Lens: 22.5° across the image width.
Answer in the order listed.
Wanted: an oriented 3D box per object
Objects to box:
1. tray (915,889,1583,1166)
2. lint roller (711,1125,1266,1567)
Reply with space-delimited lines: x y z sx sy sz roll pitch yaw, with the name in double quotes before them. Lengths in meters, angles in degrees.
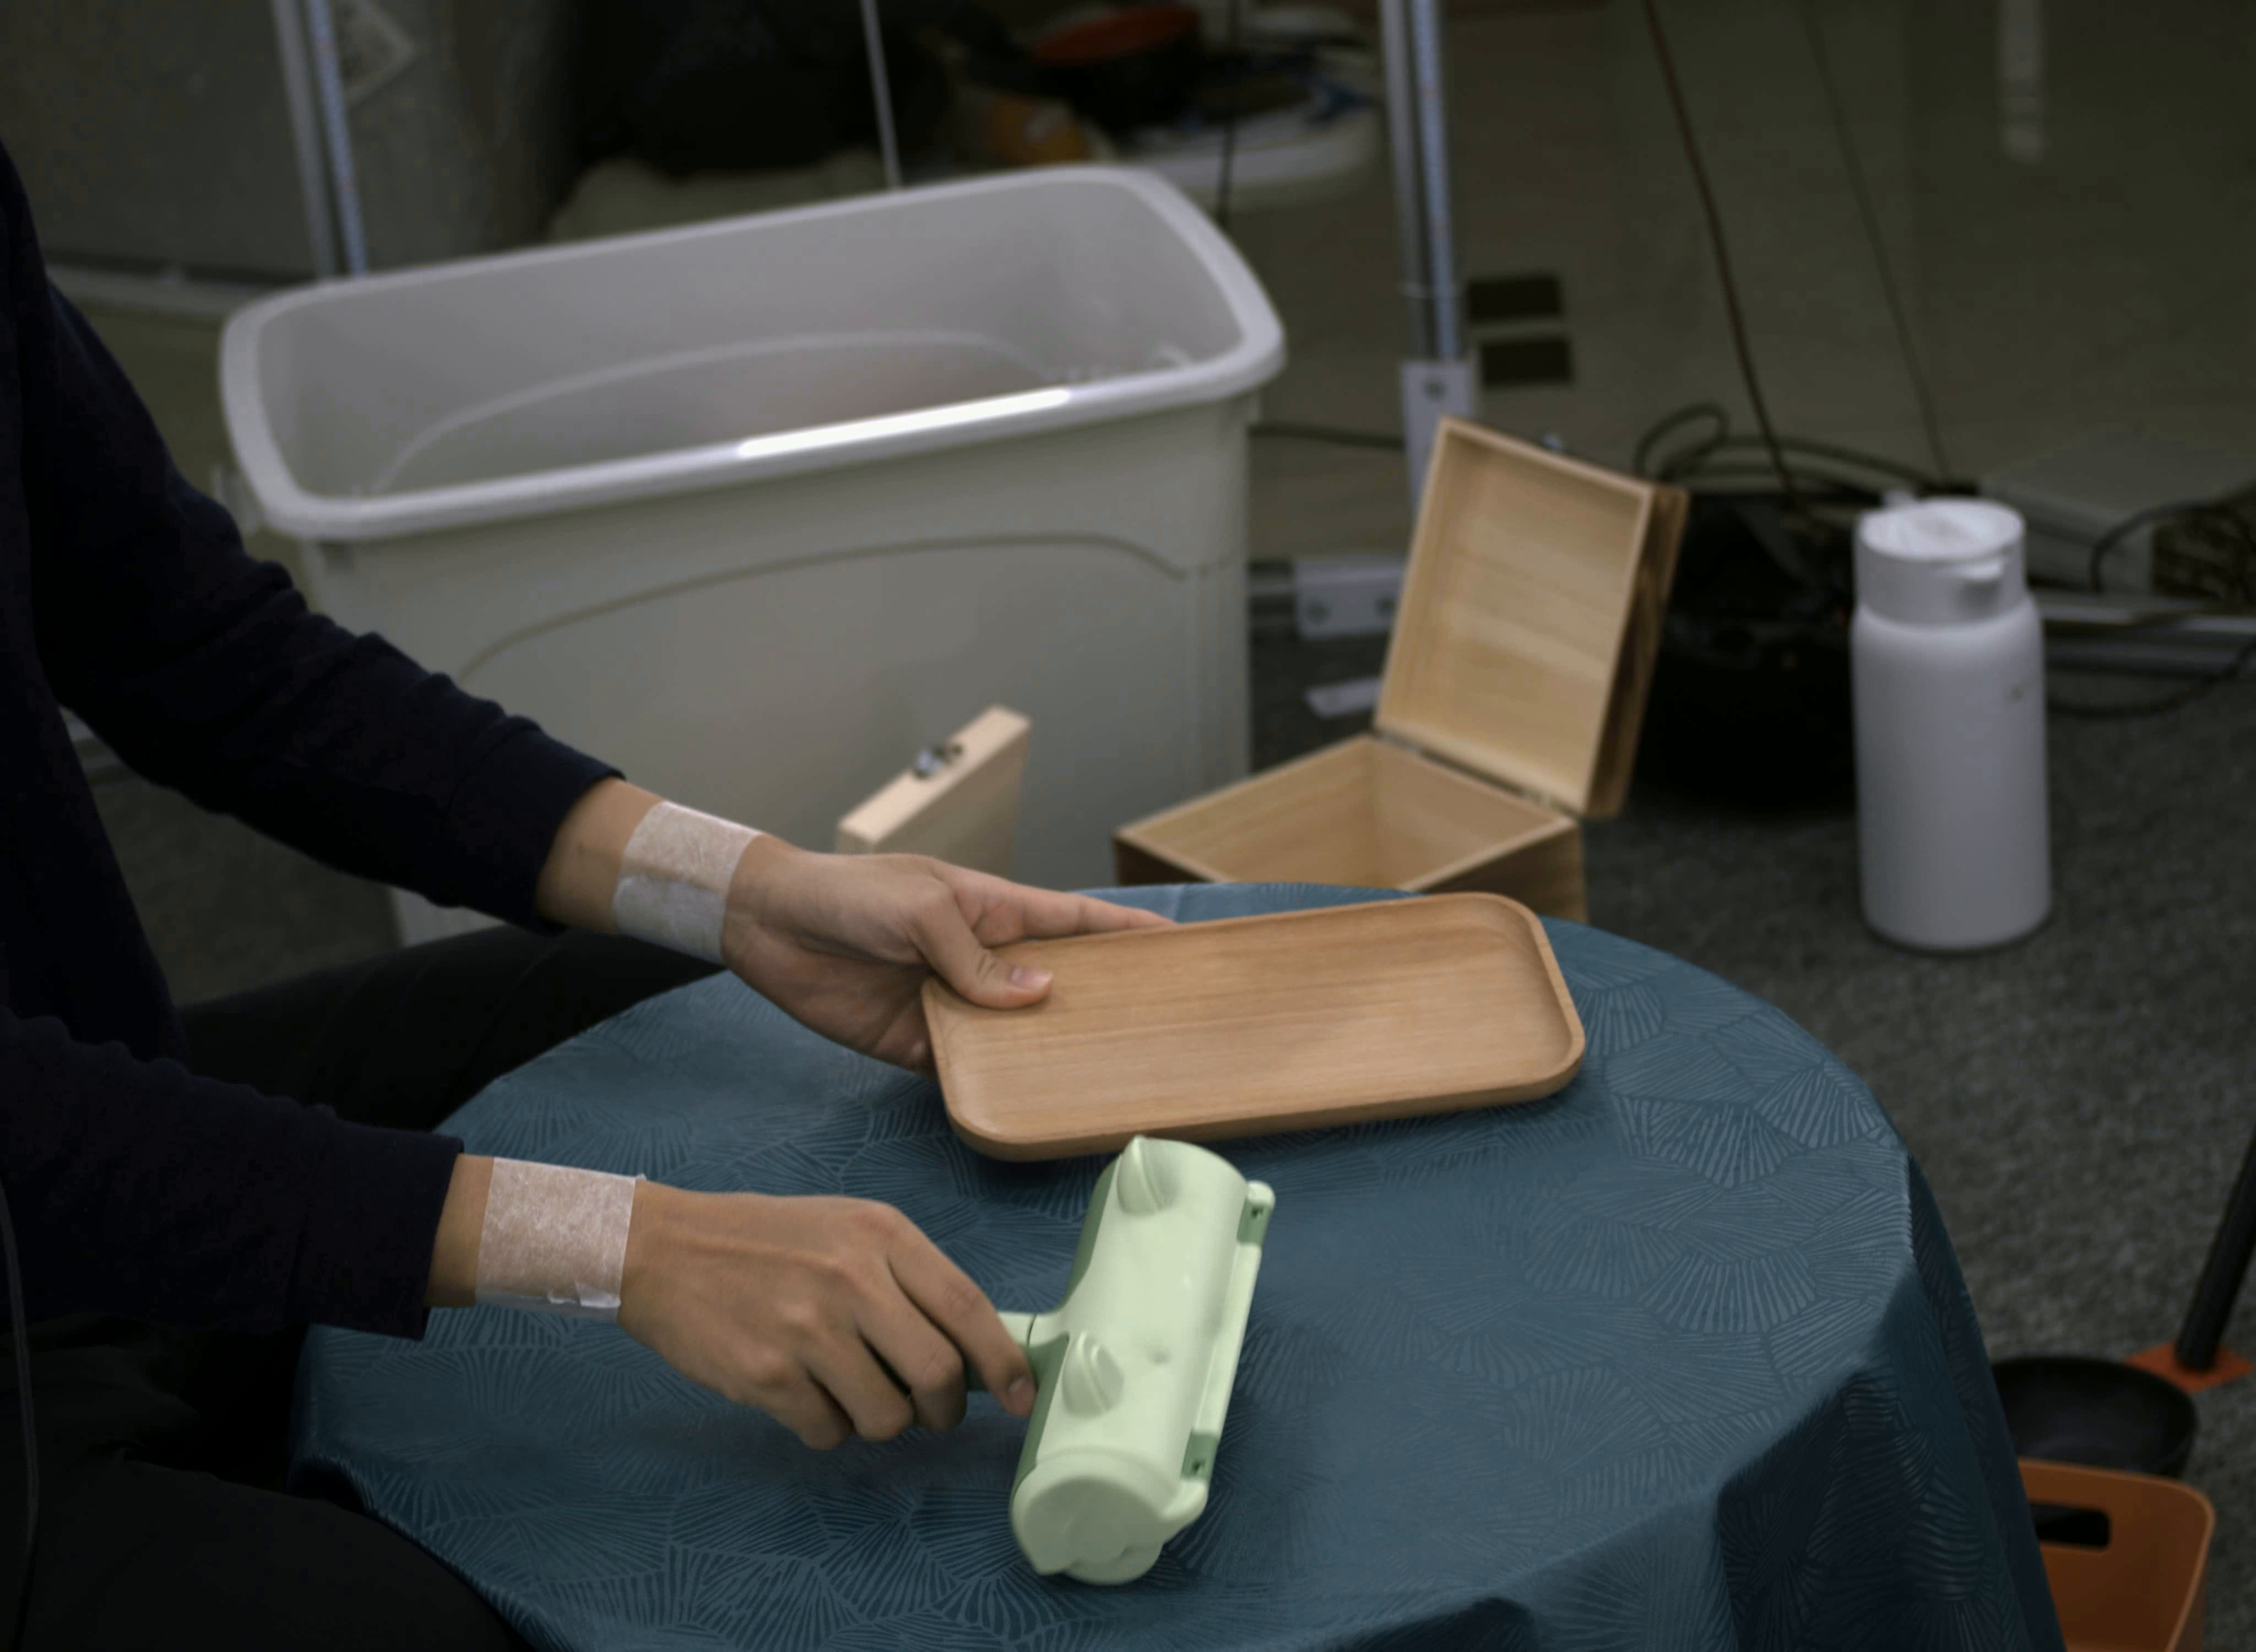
"tray" 0.046 0.079 2.205 0.250 0.023 0.128 -7 35 -6
"lint roller" -0.052 0.163 1.961 0.183 0.083 0.195 9 32 3
